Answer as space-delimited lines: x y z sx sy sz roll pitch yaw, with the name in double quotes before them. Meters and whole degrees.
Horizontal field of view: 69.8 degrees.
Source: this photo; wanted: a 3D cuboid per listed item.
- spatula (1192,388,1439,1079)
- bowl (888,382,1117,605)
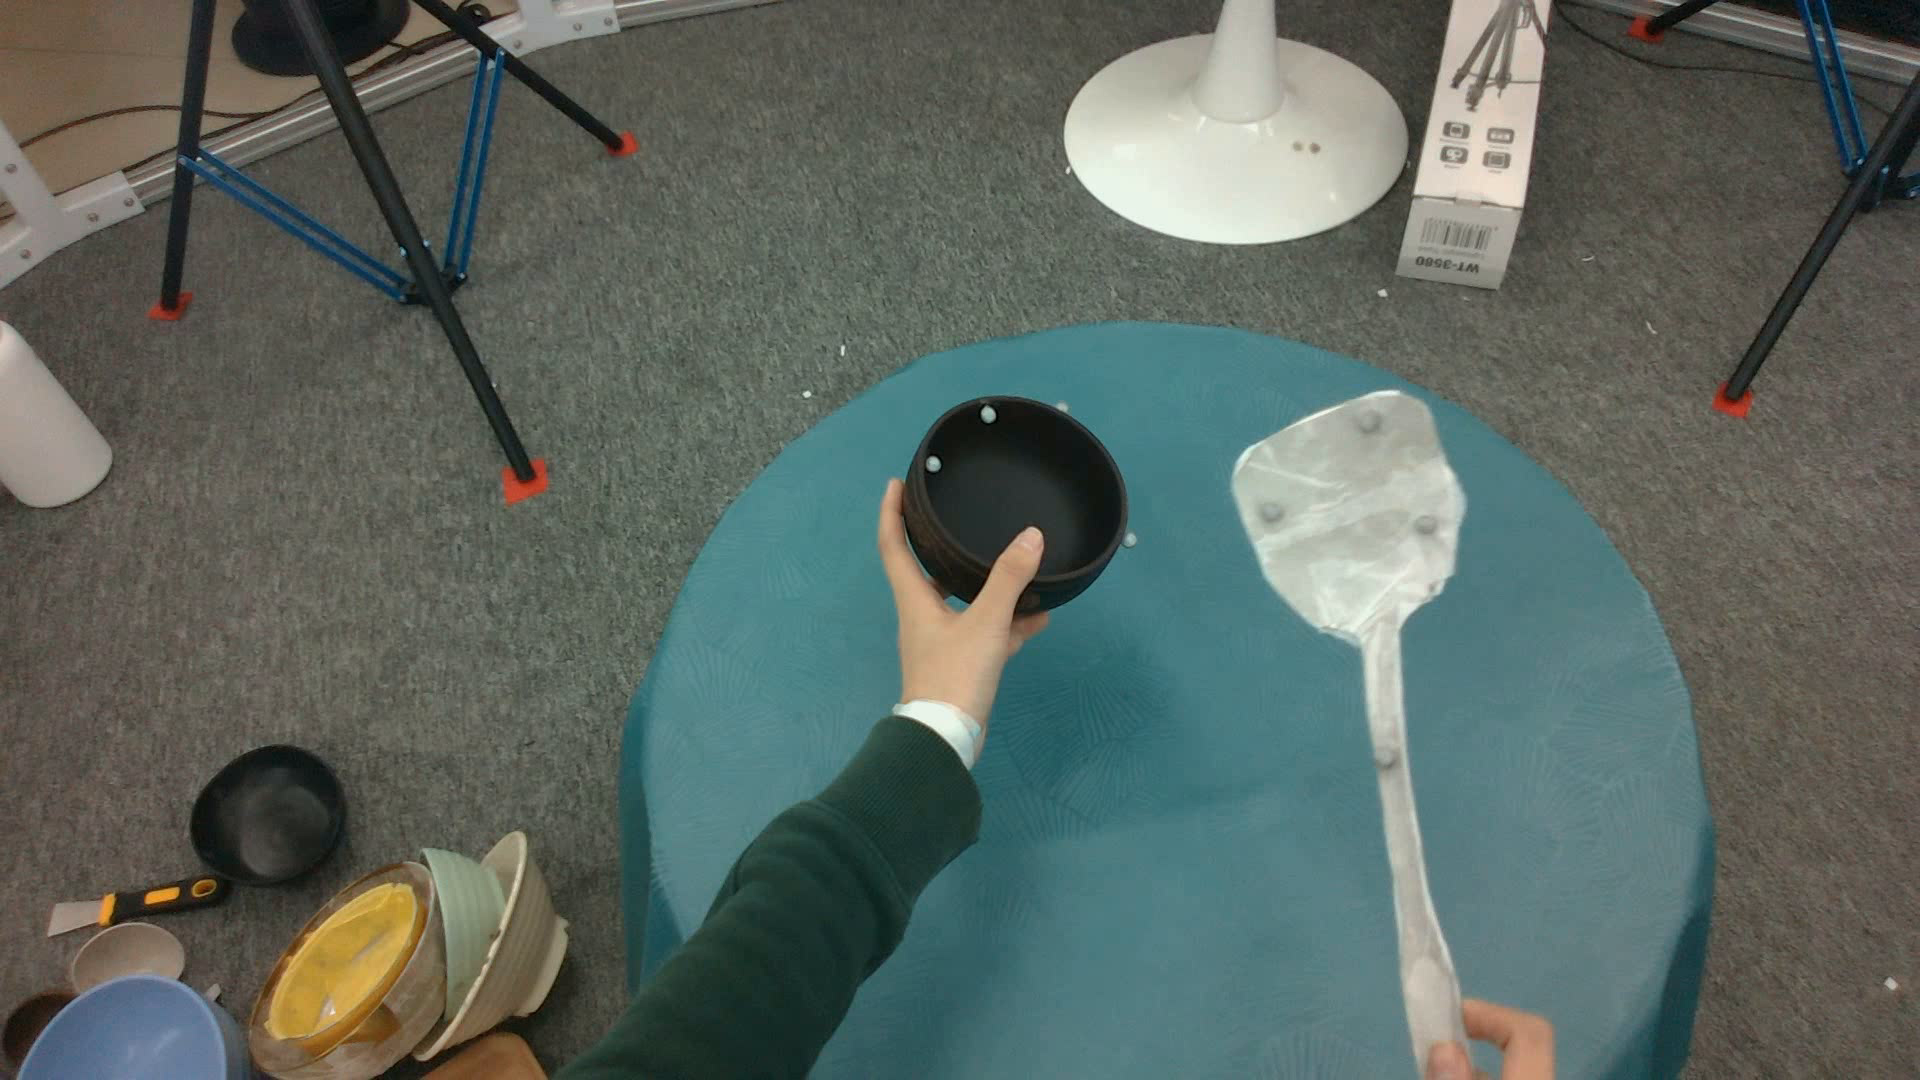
"spatula" 0.164 0.106 0.564 0.098 0.045 0.366 -22 57 33
"bowl" 0.018 -0.018 0.732 0.118 0.069 0.118 8 59 -14
